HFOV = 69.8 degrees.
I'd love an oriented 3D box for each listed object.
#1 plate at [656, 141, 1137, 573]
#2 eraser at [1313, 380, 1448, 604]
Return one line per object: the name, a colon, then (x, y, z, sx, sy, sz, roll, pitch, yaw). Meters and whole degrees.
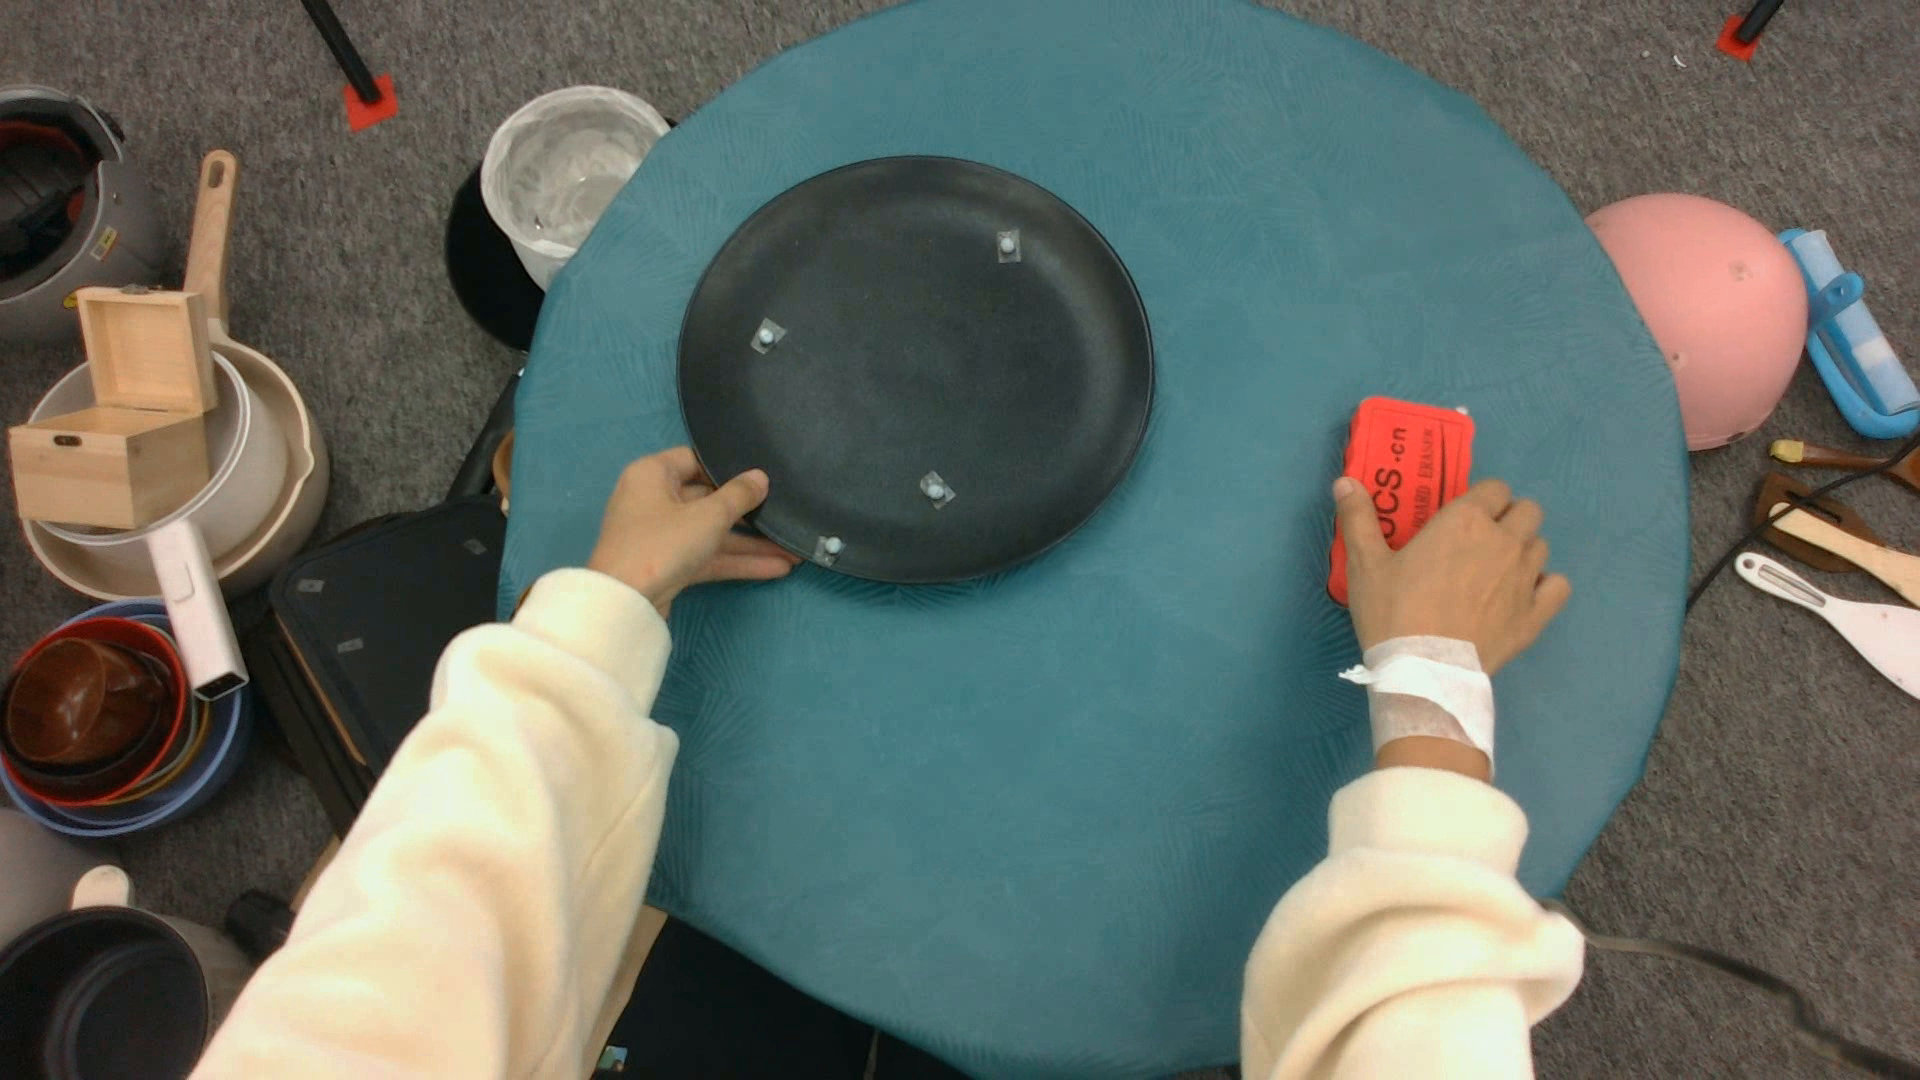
plate: (-0.032, -0.096, 0.706, 0.244, 0.023, 0.245, 1, 70, -2)
eraser: (0.209, -0.025, 0.684, 0.059, 0.023, 0.108, 10, 68, 3)
